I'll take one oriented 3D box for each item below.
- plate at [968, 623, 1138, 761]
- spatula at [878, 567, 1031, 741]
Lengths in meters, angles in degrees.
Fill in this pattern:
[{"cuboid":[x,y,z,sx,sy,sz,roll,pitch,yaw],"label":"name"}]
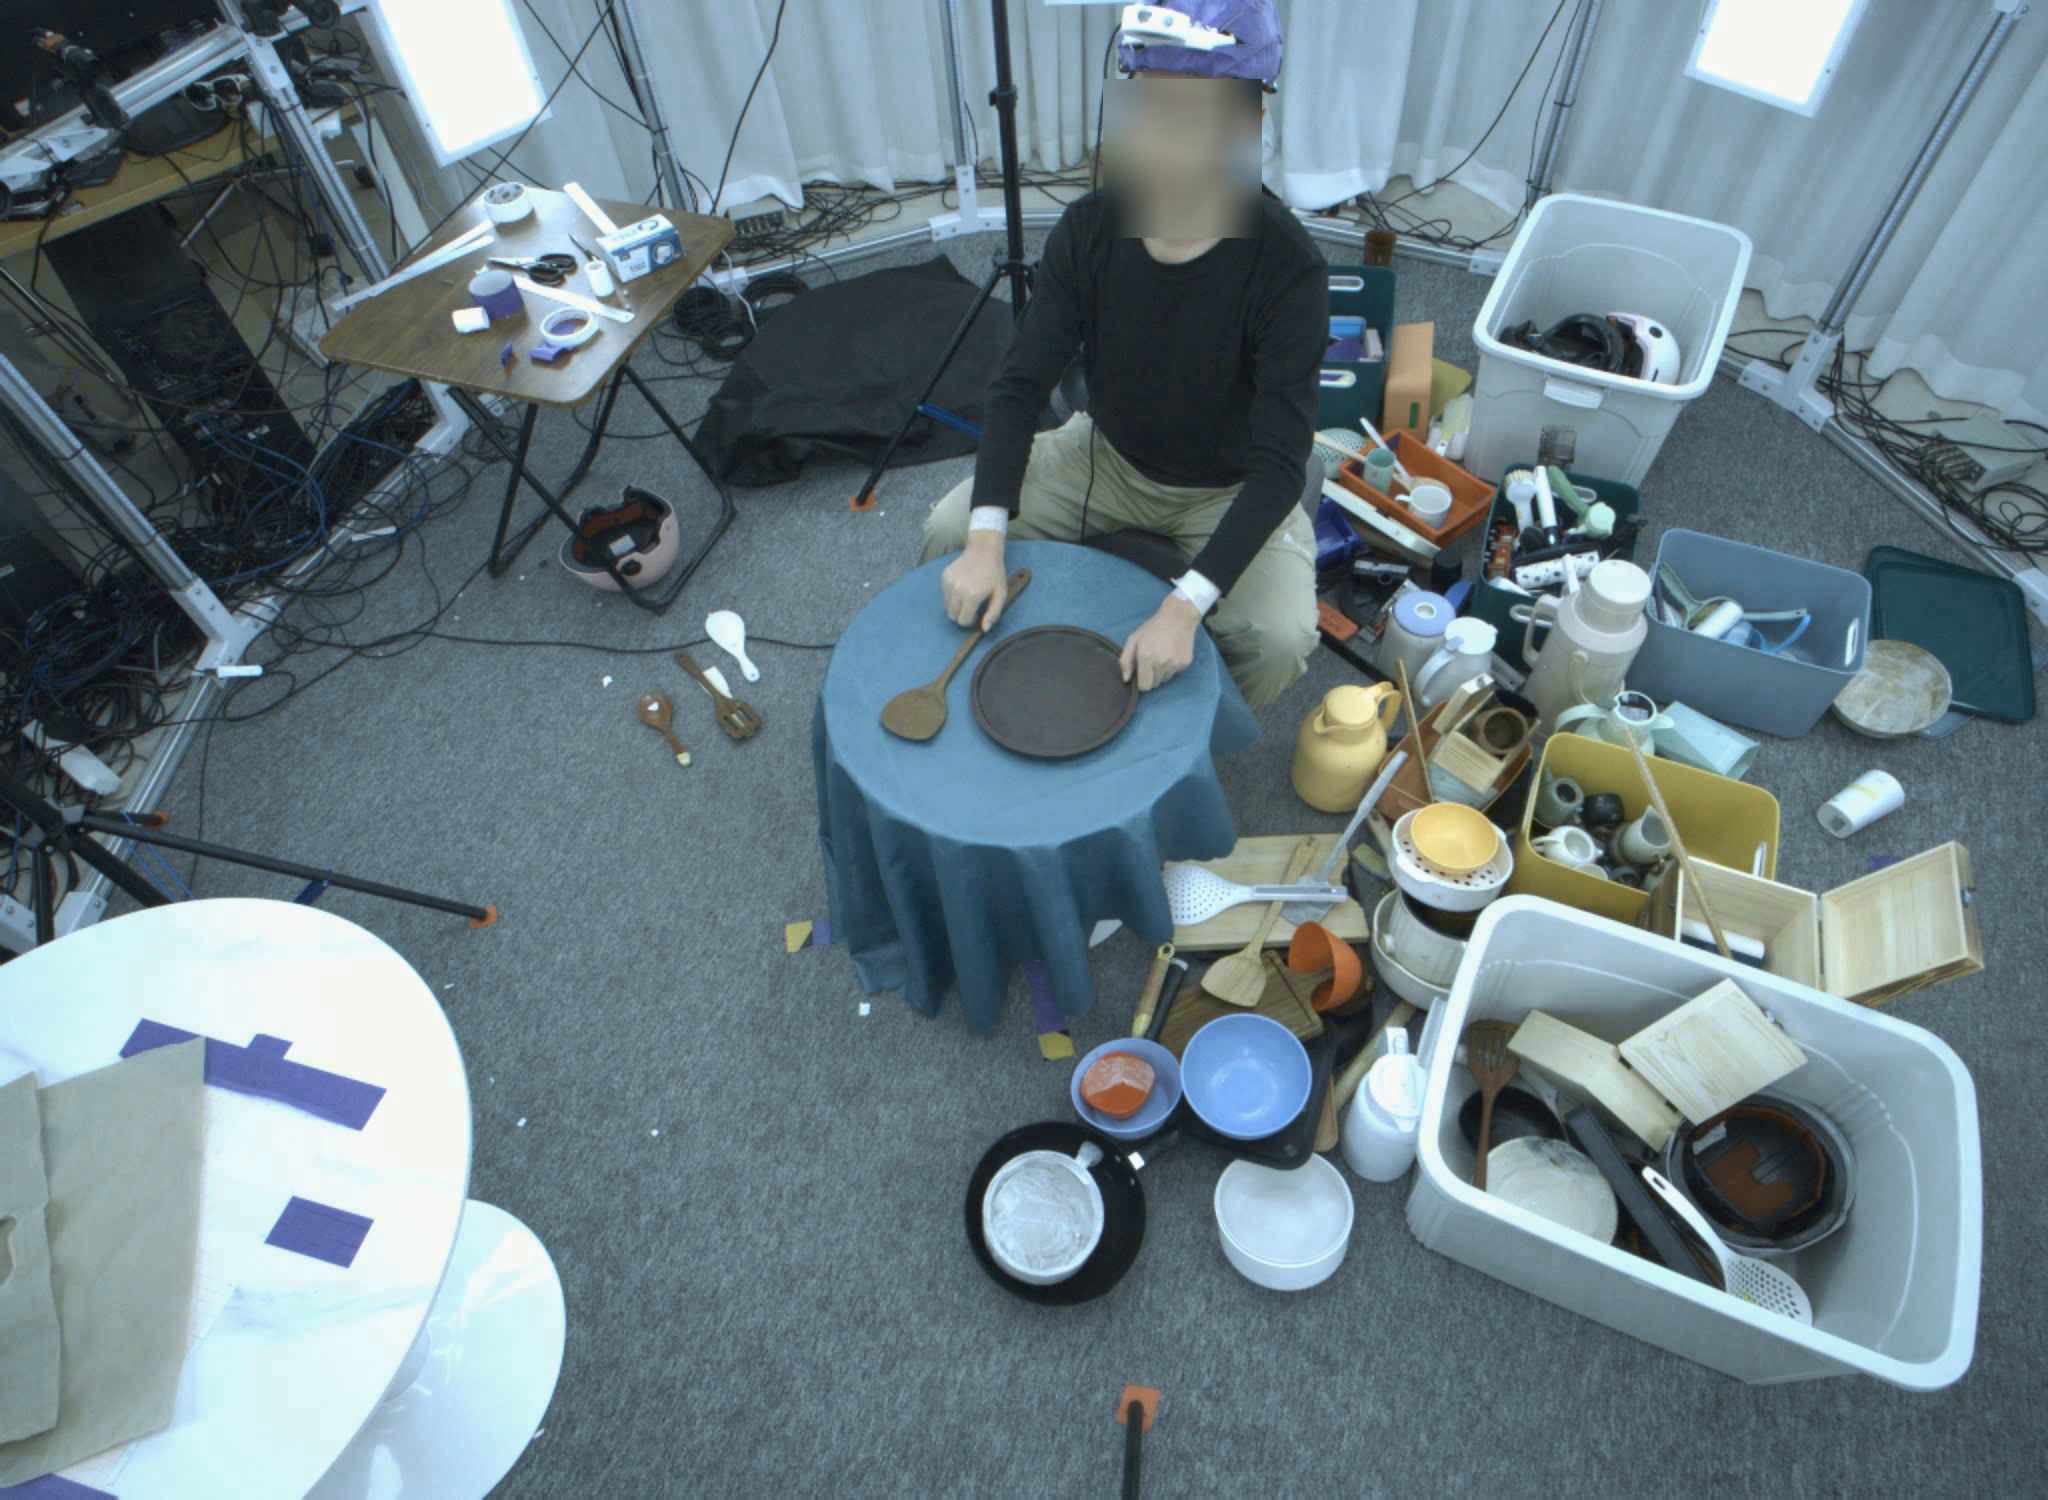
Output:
[{"cuboid":[0.043,-0.088,1.835,0.254,0.029,0.252,-1,56,2],"label":"plate"},{"cuboid":[-0.091,-0.160,1.895,0.095,0.016,0.387,24,59,17],"label":"spatula"}]
